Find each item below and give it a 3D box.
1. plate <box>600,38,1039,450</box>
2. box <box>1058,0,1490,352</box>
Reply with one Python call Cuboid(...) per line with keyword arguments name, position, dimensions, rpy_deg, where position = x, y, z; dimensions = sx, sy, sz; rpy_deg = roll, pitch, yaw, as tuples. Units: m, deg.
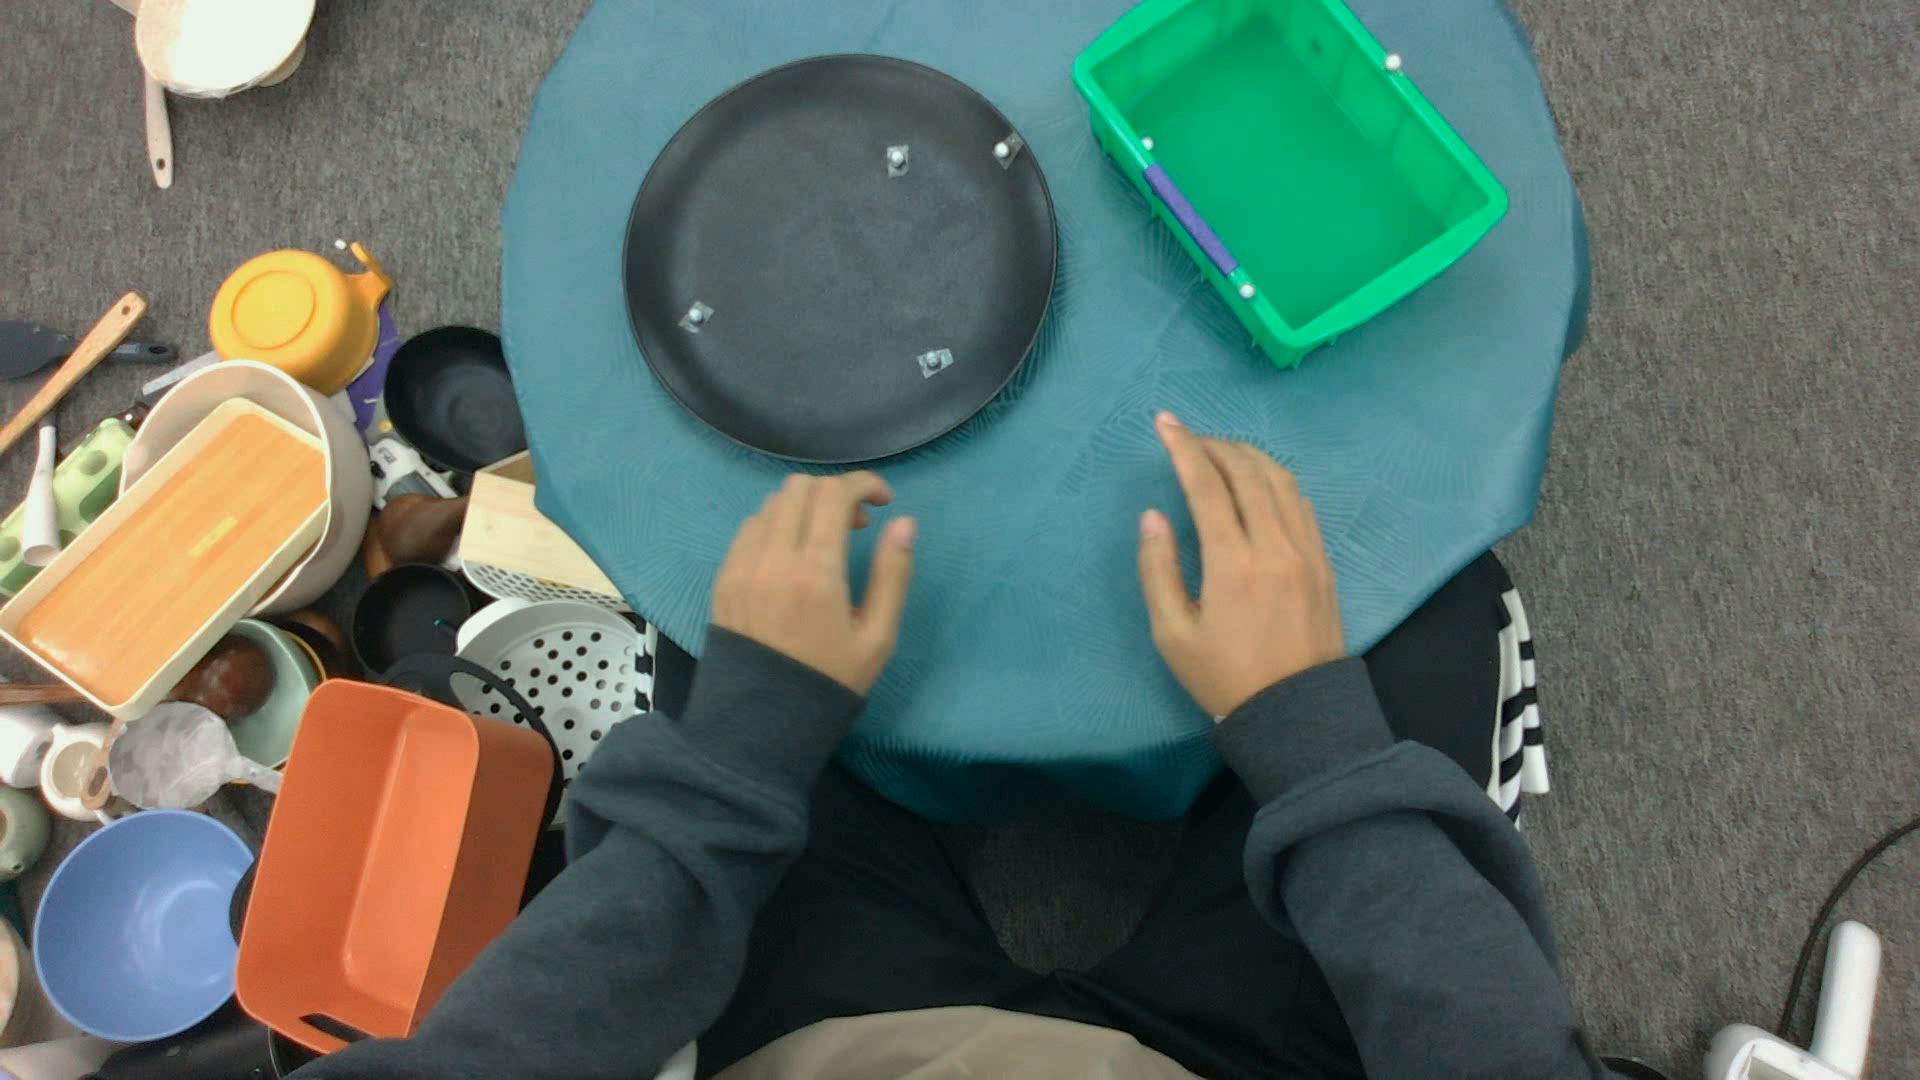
Cuboid(name="plate", position=(-0.078, -0.164, 0.764), dimensions=(0.244, 0.023, 0.245), rpy_deg=(-1, 77, 4))
Cuboid(name="box", position=(0.161, -0.210, 0.735), dimensions=(0.139, 0.065, 0.210), rpy_deg=(-35, 79, -2))
